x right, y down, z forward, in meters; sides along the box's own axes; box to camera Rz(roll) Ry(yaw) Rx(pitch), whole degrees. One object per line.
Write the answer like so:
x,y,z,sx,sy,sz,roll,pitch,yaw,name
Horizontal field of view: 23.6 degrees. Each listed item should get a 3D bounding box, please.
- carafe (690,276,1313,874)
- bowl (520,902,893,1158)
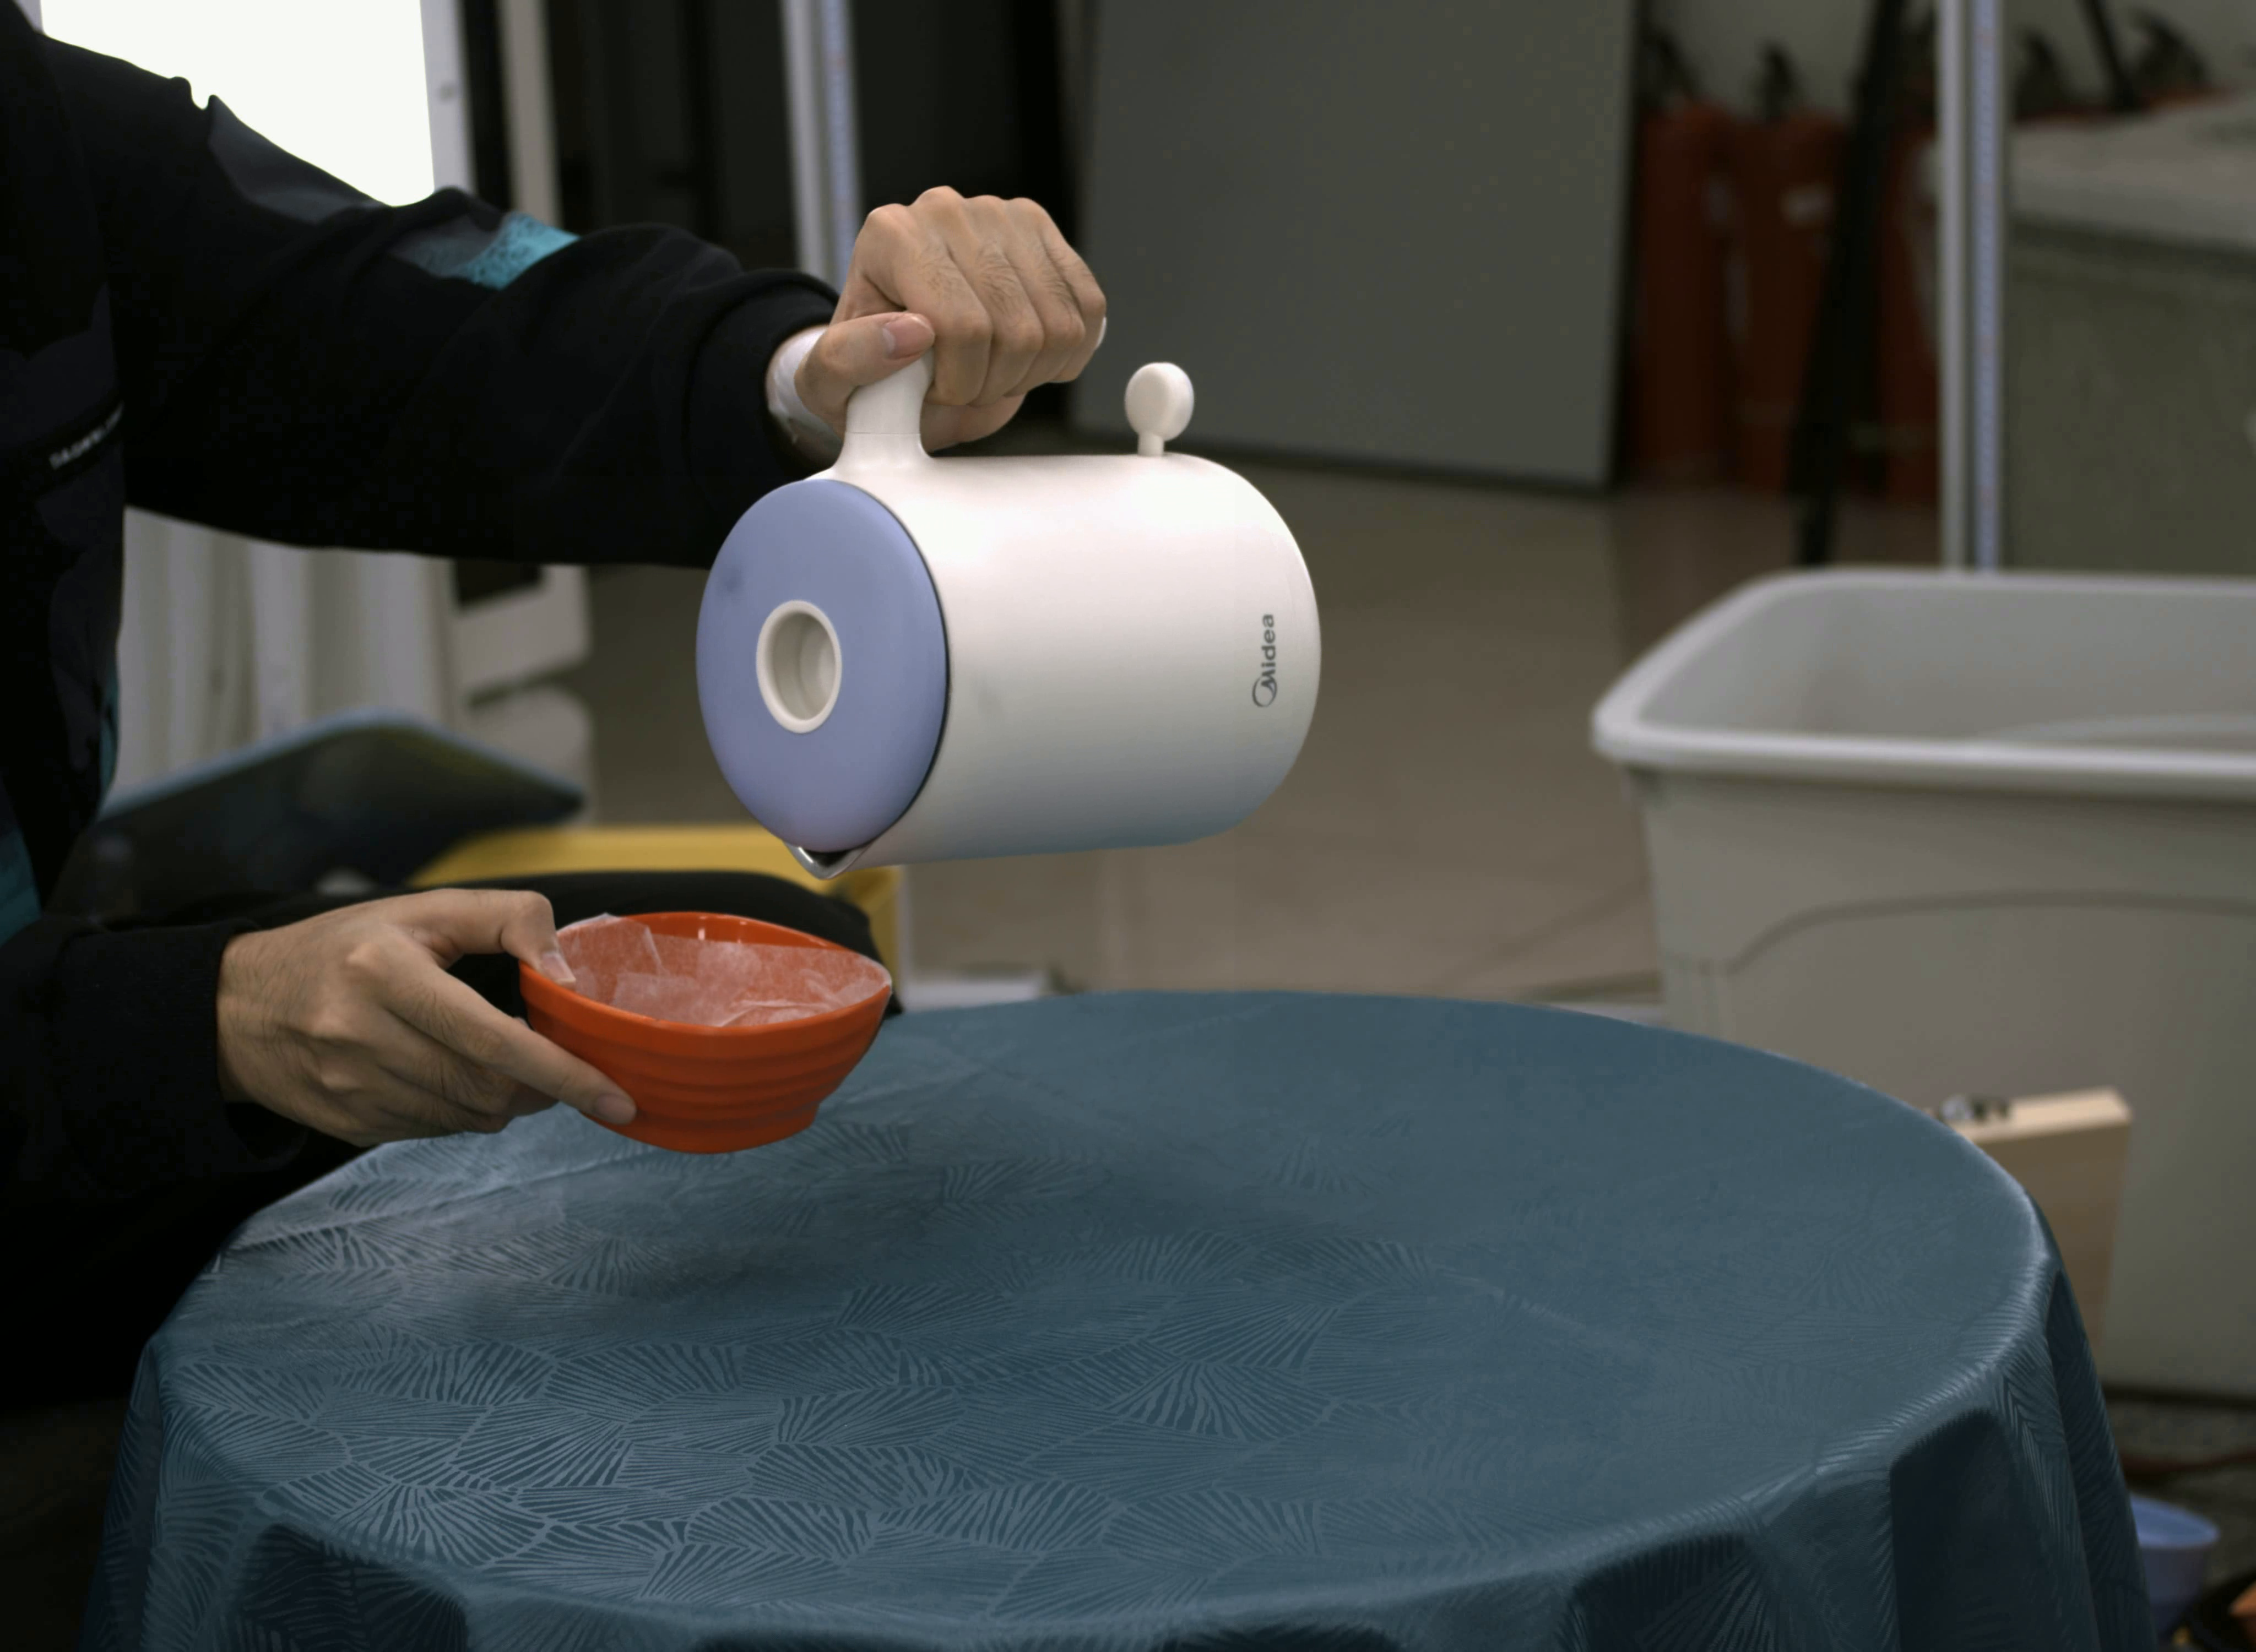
-0.040,-0.082,1.750,0.178,0.193,0.133,0,2,-44,carafe
-0.135,0.067,1.710,0.117,0.052,0.119,4,18,-2,bowl
